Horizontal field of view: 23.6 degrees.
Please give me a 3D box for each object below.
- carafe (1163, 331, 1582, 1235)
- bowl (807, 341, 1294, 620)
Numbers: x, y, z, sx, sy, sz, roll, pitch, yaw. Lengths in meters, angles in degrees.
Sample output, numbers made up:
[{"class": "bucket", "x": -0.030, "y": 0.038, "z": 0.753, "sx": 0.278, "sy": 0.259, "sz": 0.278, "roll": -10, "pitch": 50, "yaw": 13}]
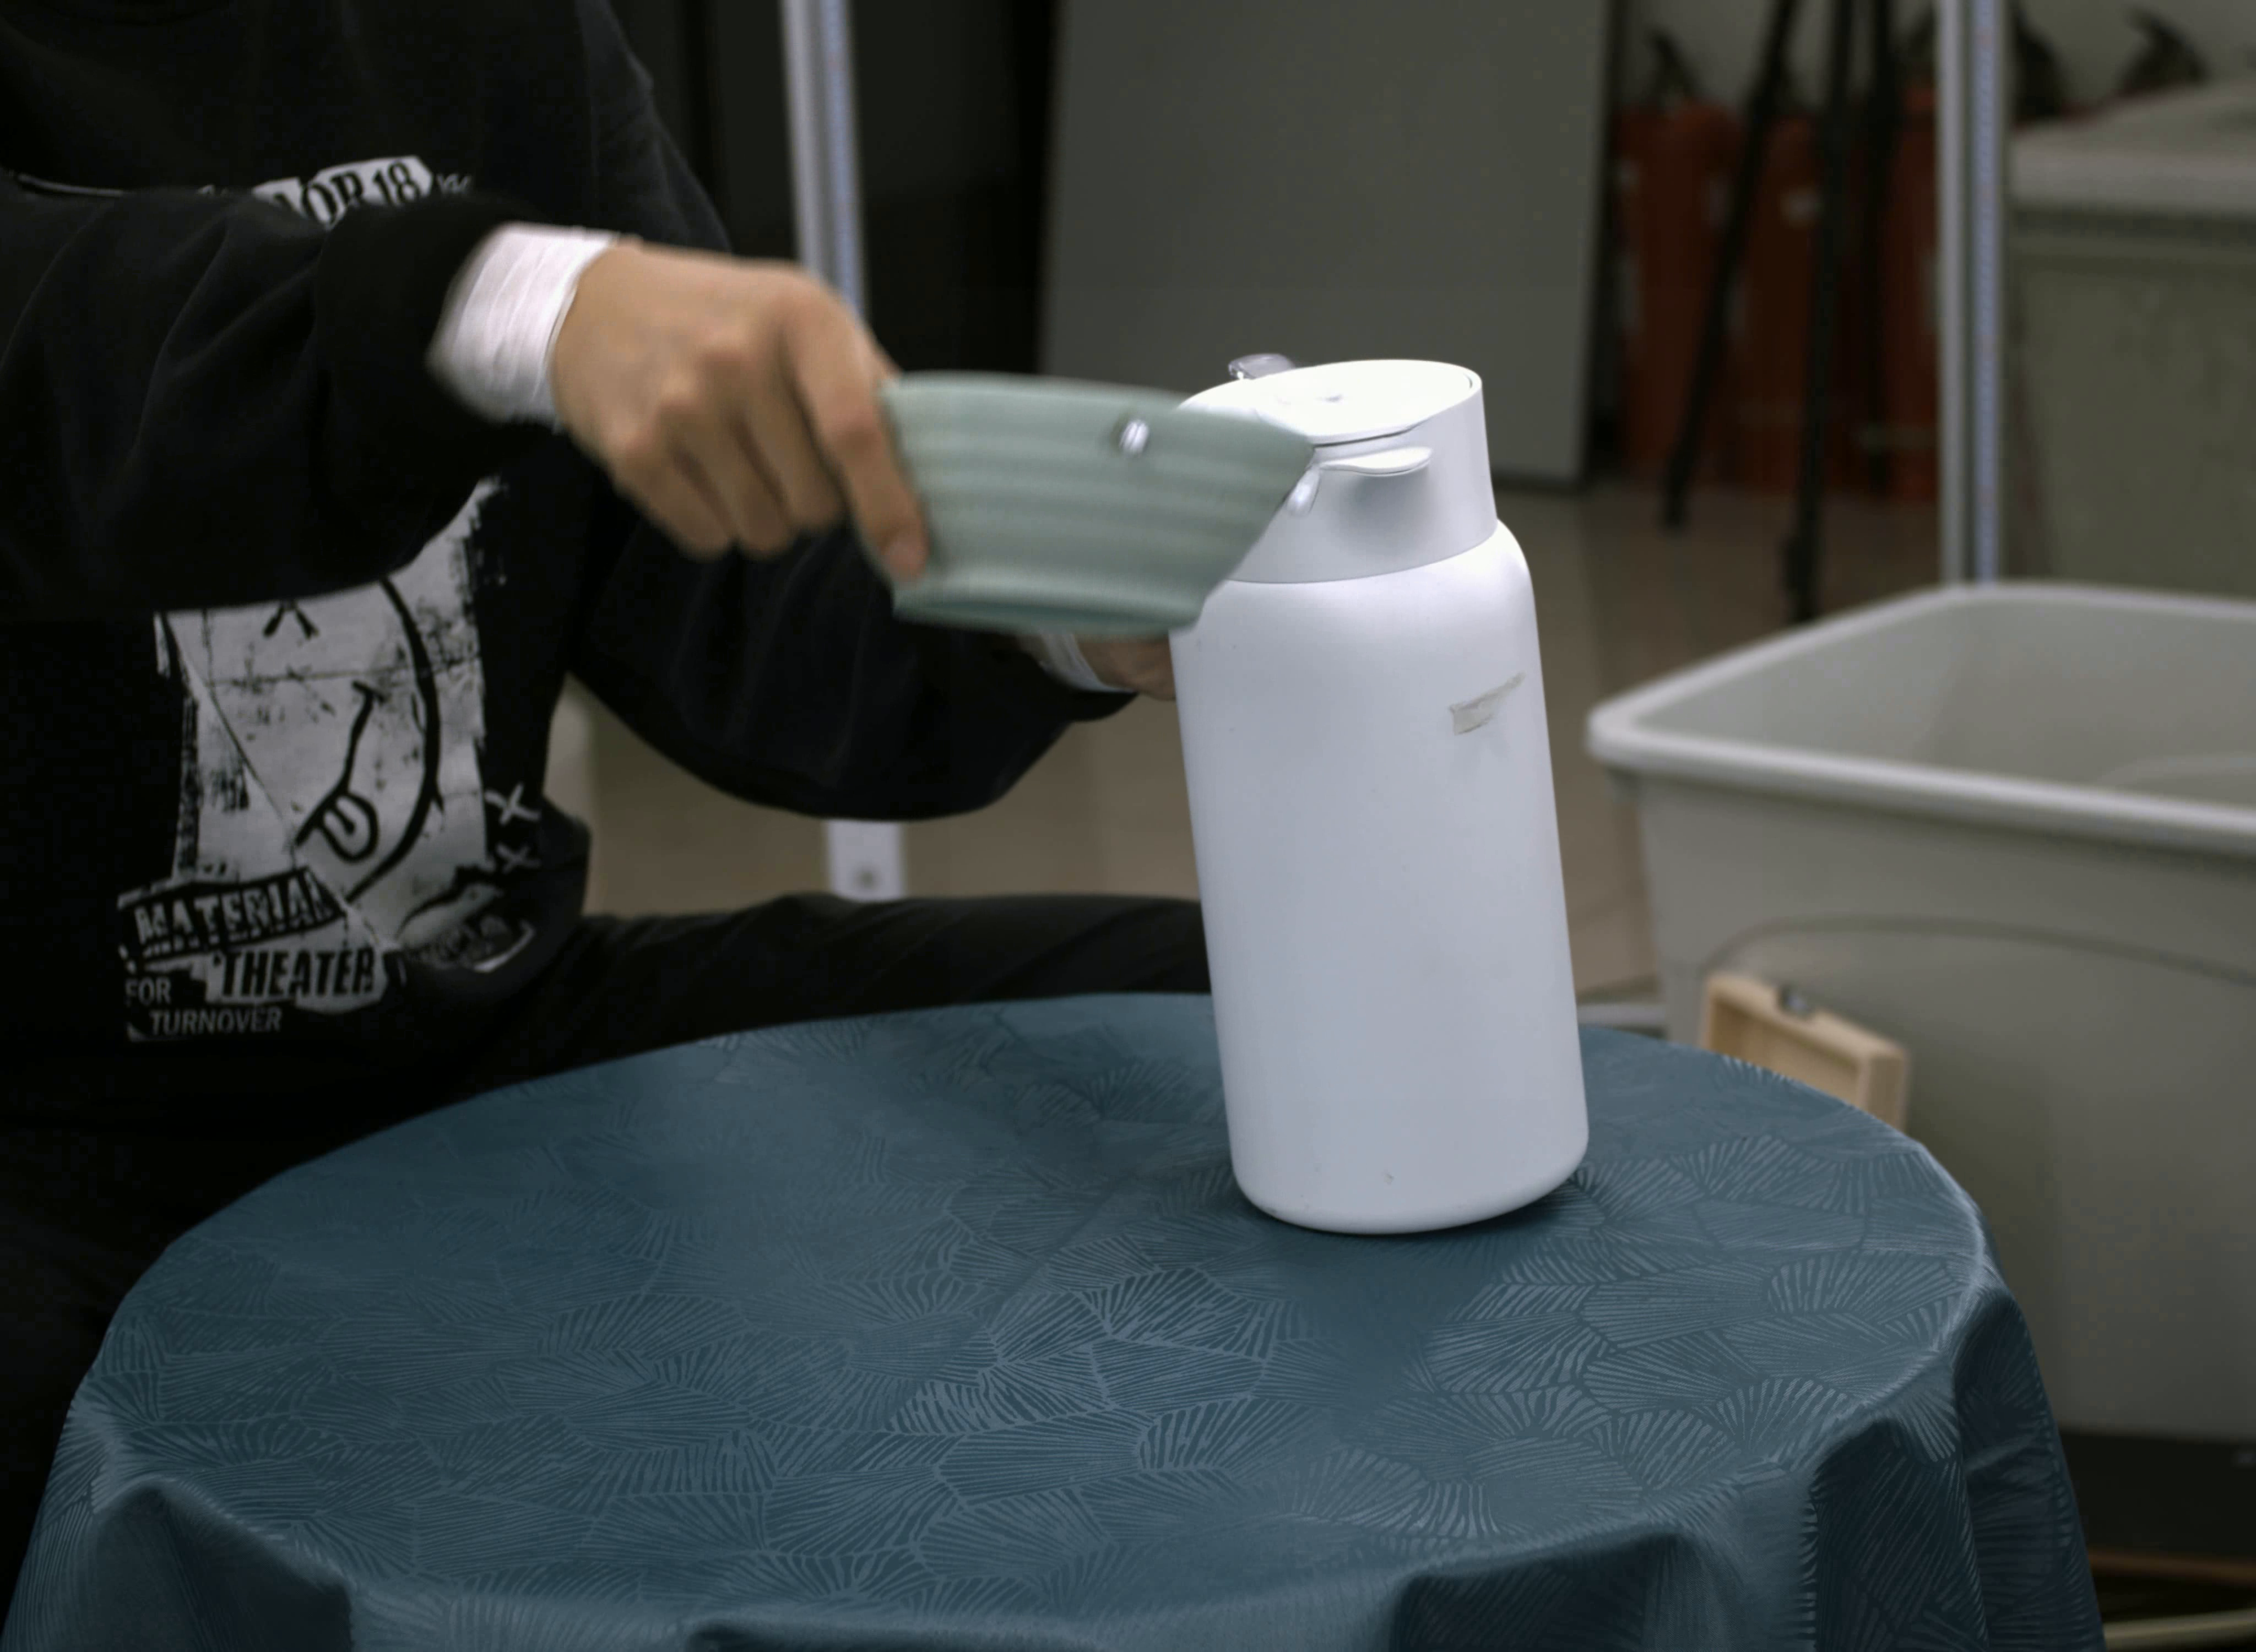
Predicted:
[{"class": "carafe", "x": 0.069, "y": -0.017, "z": 1.735, "sx": 0.121, "sy": 0.271, "sz": 0.174, "roll": -14, "pitch": 17, "yaw": -15}, {"class": "bowl", "x": -0.025, "y": -0.096, "z": 1.569, "sx": 0.149, "sy": 0.059, "sz": 0.151, "roll": 4, "pitch": -7, "yaw": 0}]
